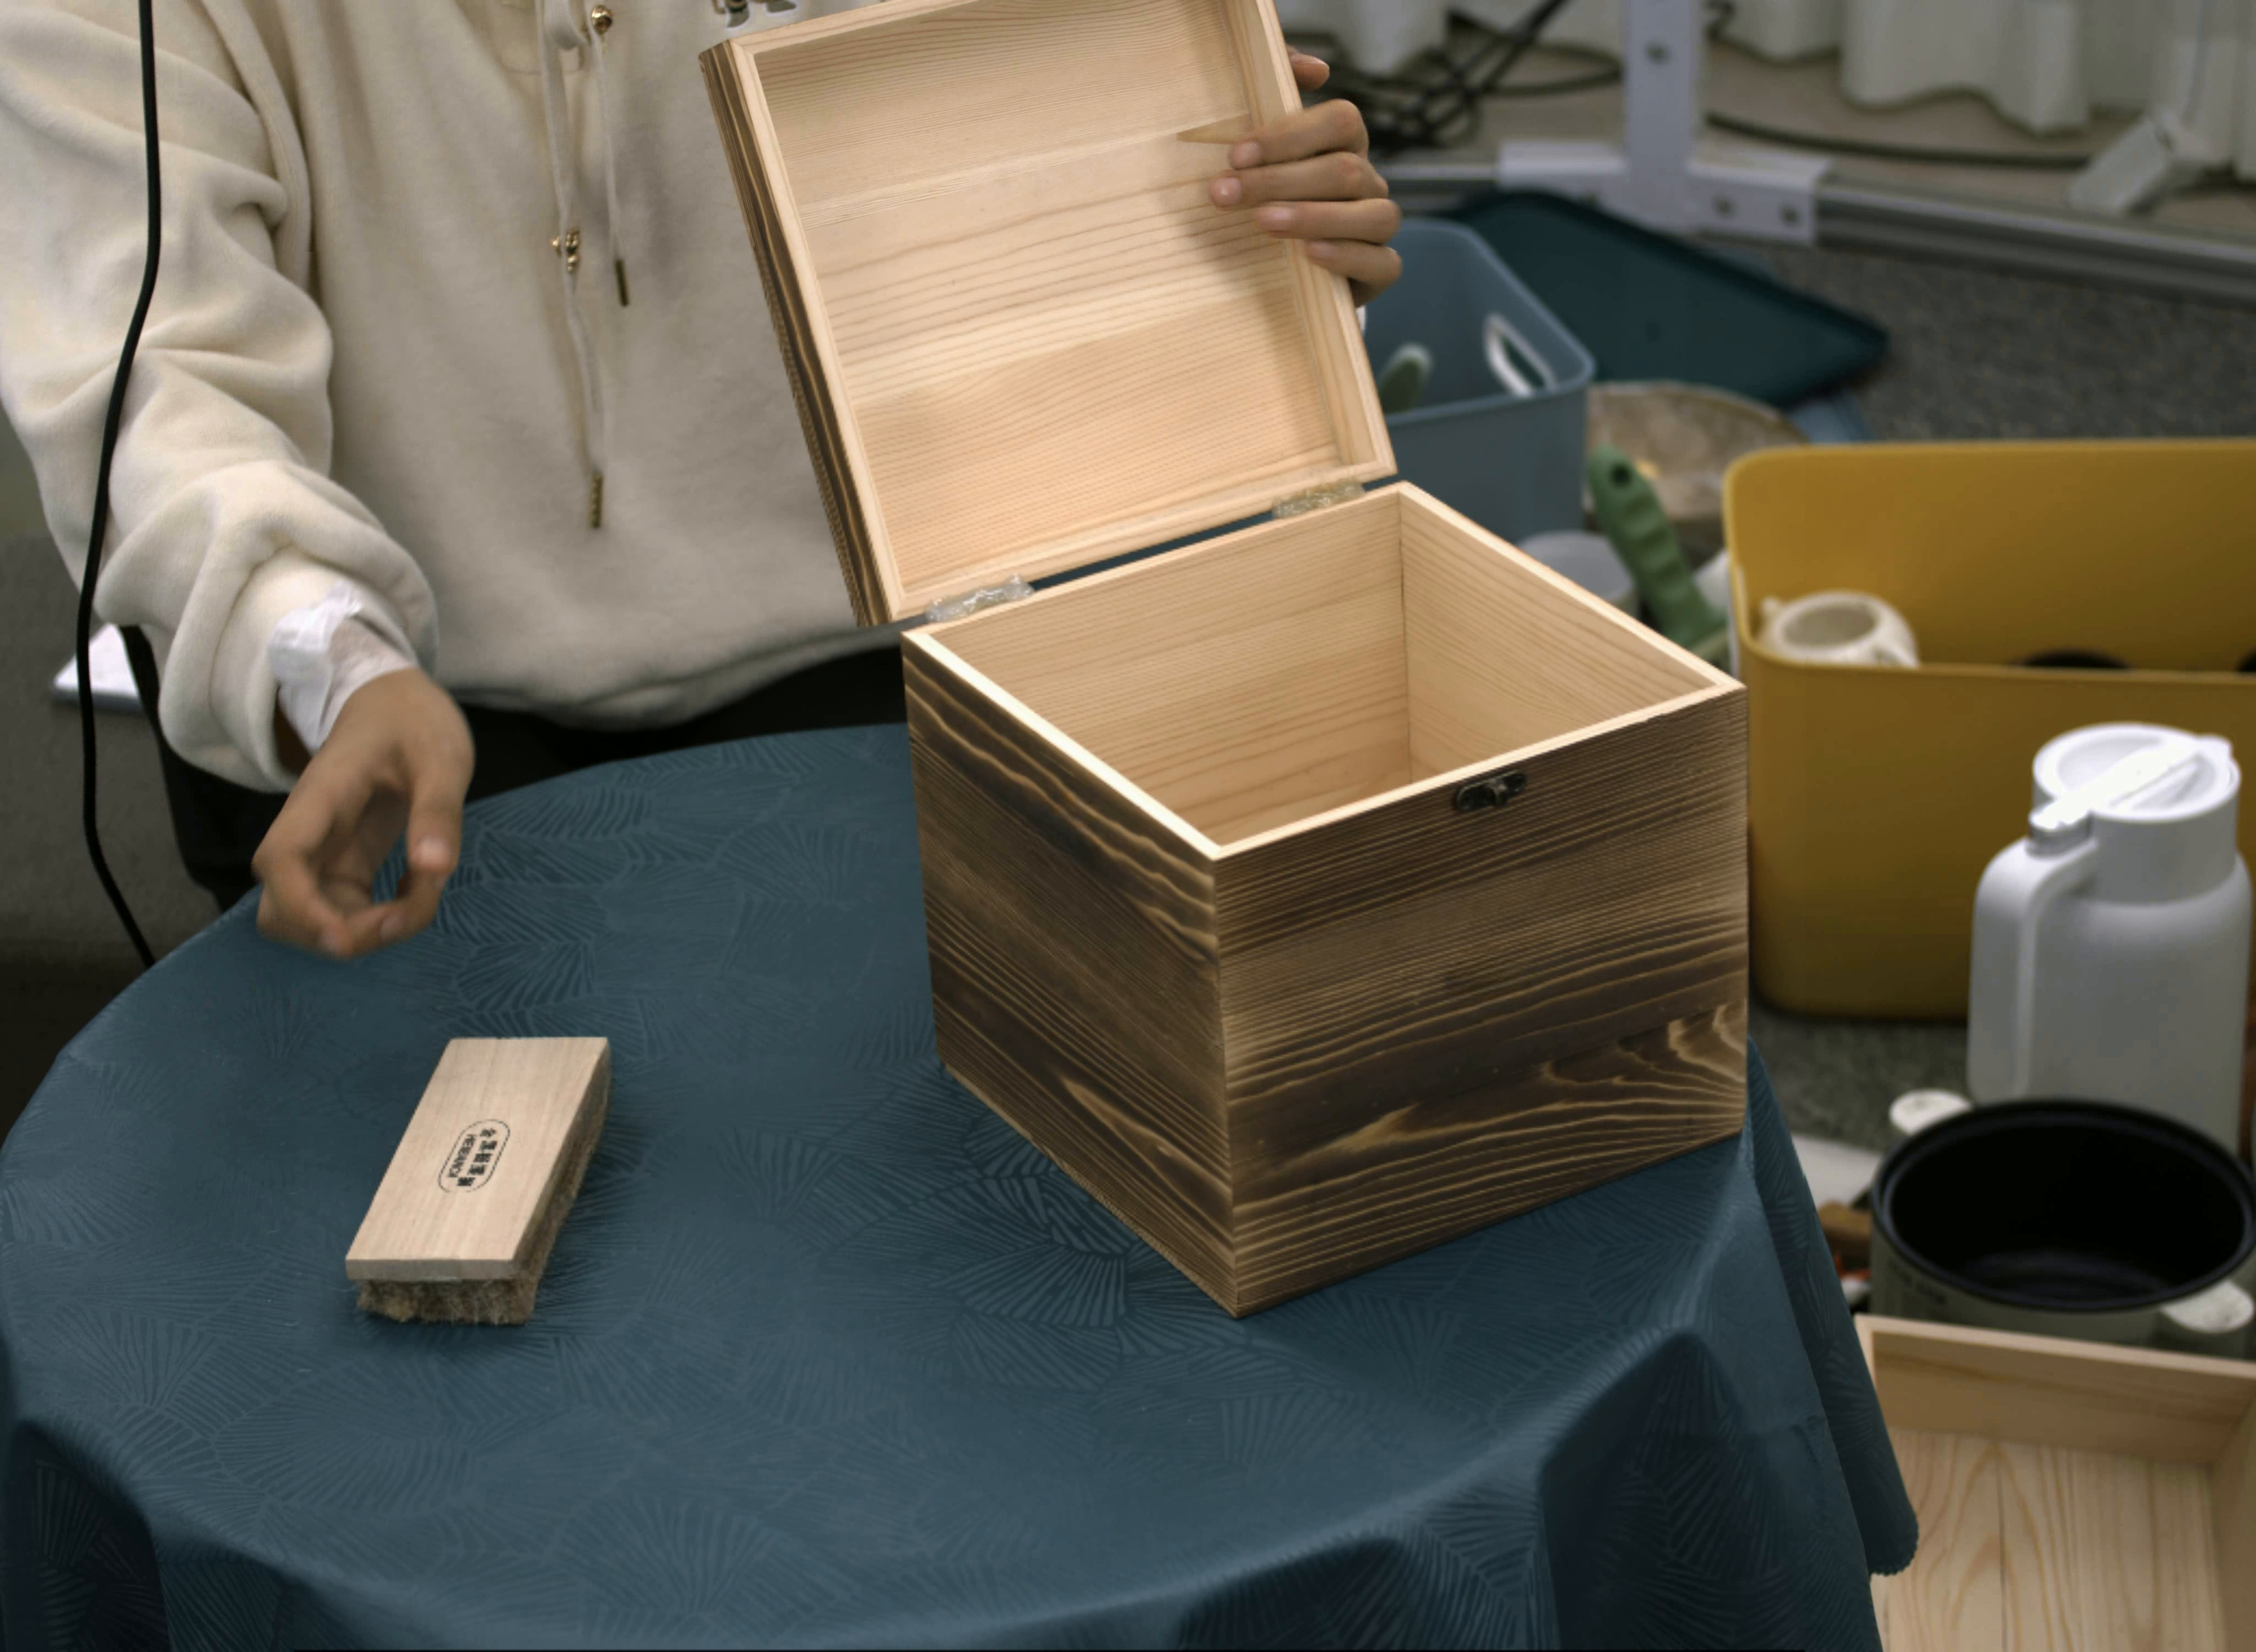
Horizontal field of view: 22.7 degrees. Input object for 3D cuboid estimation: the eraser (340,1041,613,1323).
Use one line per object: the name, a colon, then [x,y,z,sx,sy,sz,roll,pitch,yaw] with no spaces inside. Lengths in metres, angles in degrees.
eraser: [-0.213,0.117,1.860,0.057,0.029,0.141,0,27,10]

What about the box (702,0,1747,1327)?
box: [0.032,-0.087,1.867,0.210,0.371,0.323,-18,31,-26]
